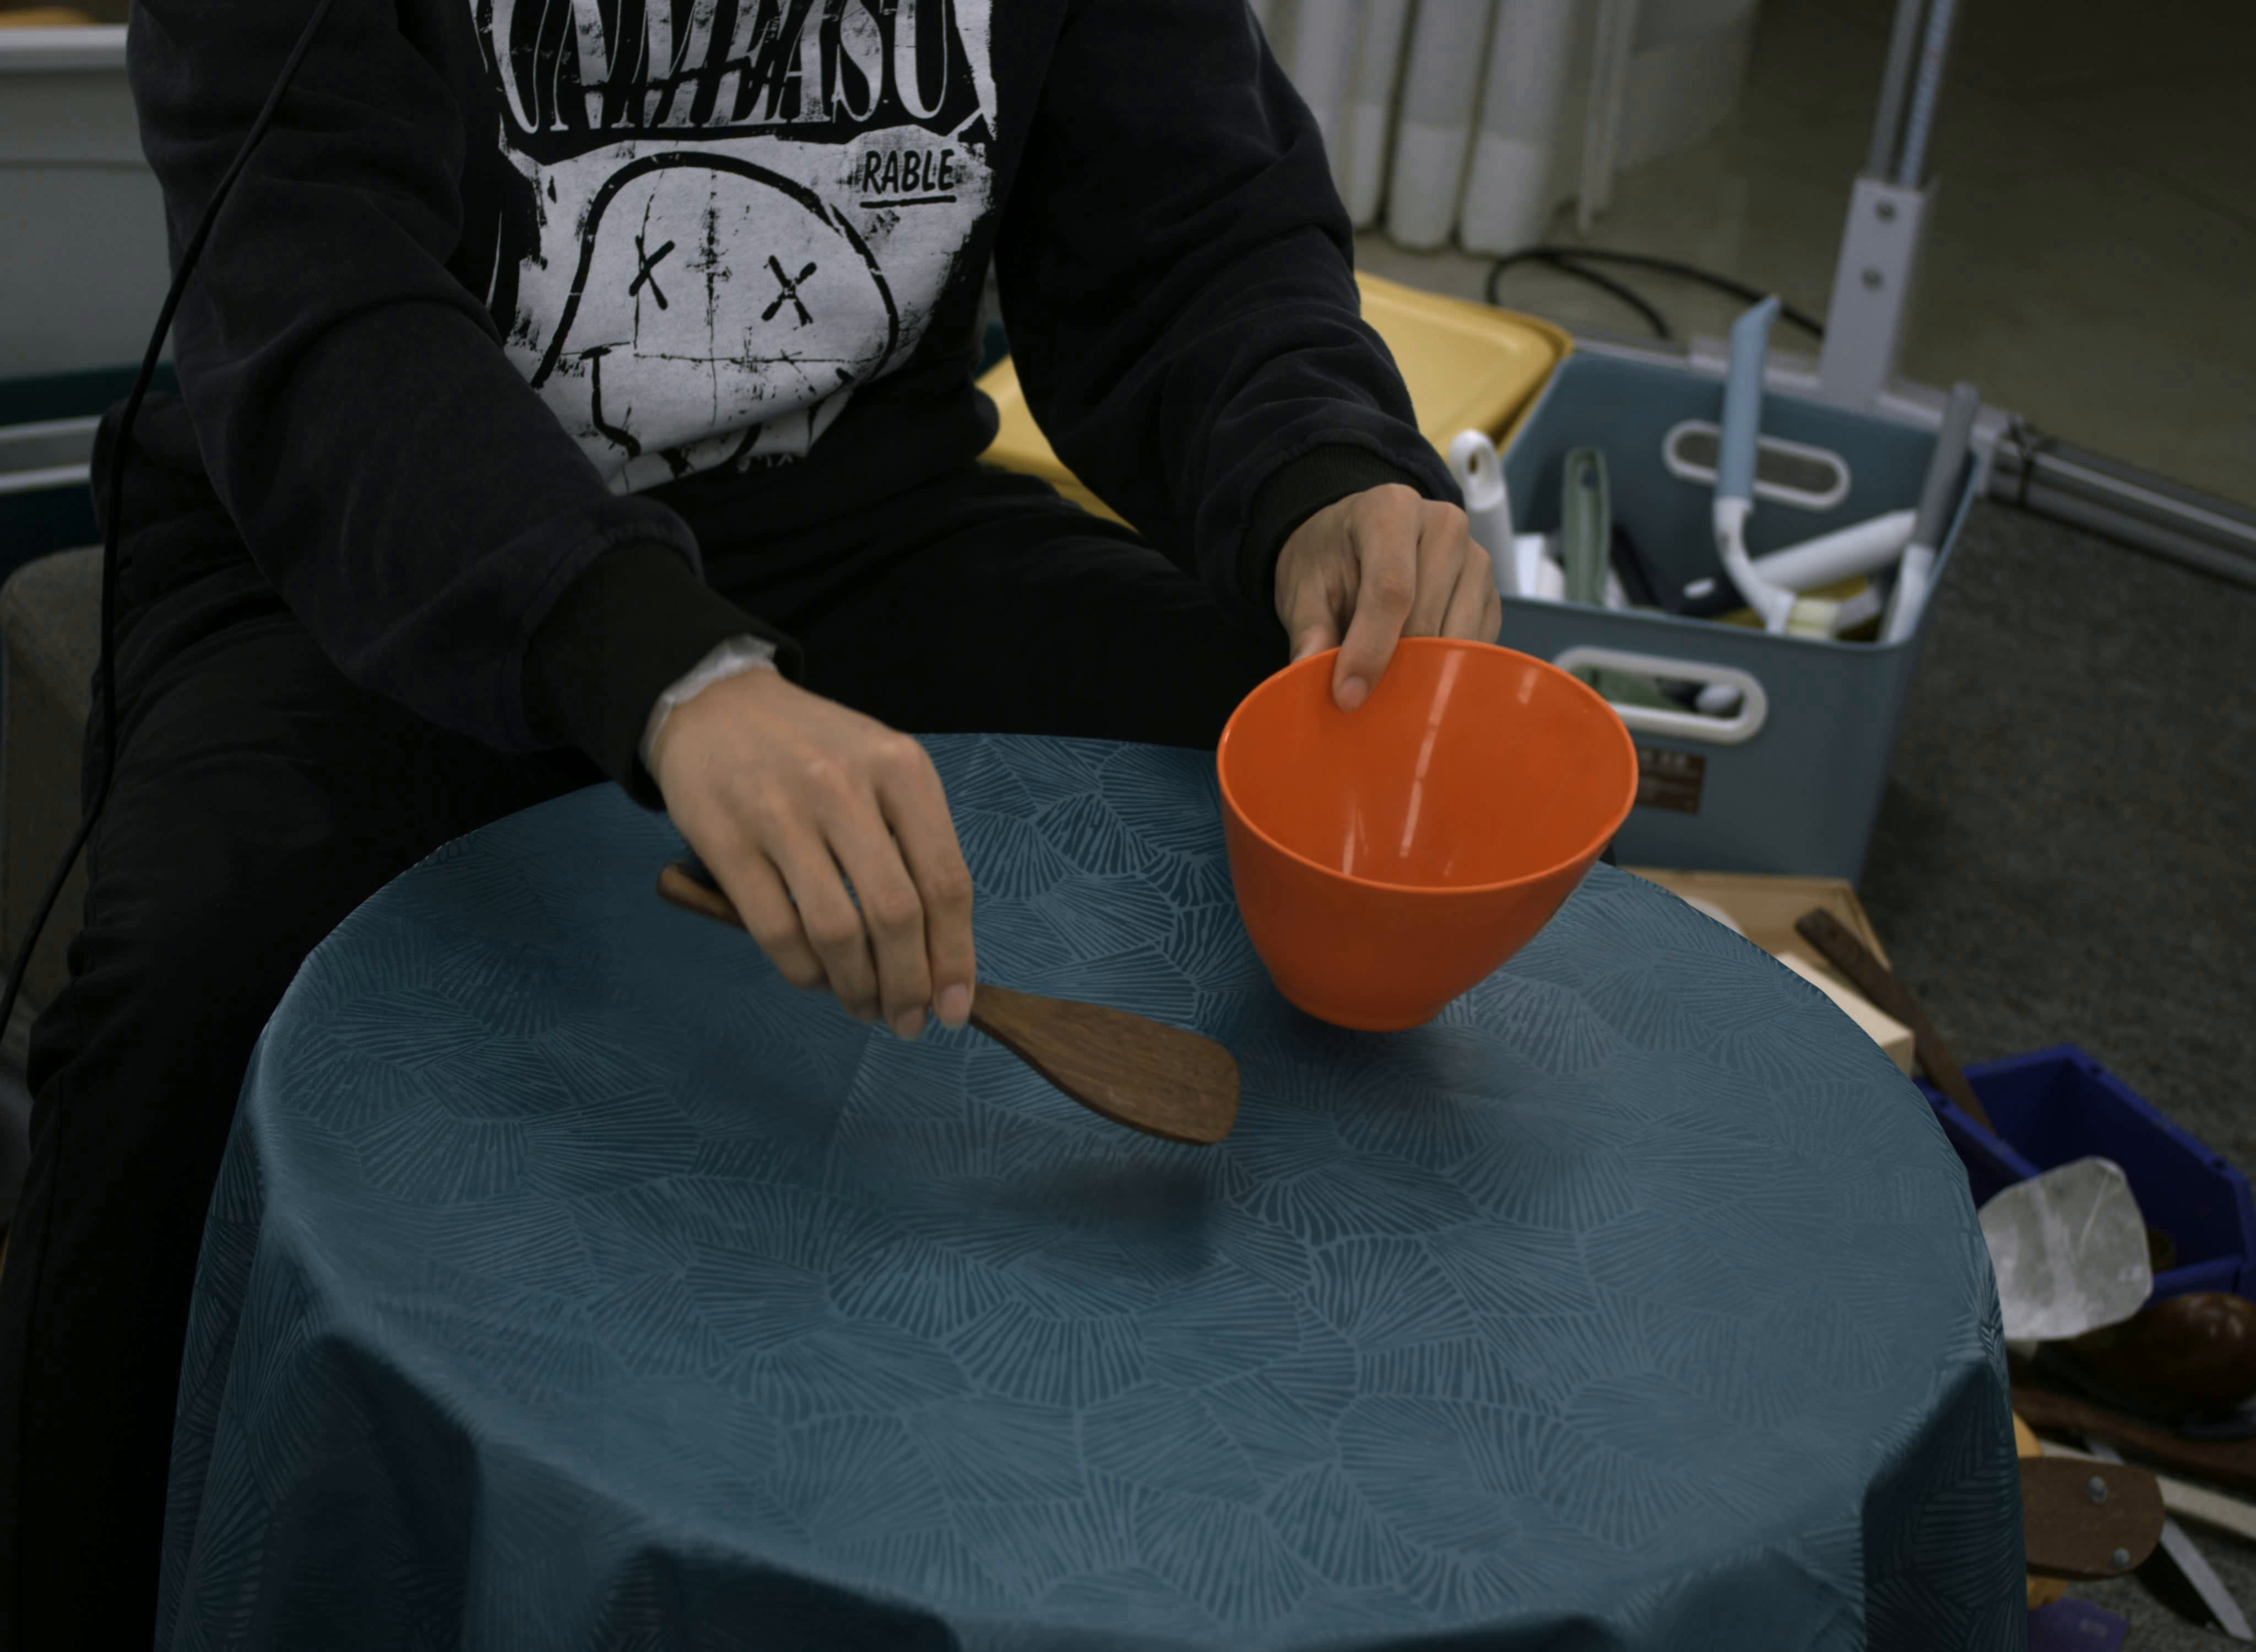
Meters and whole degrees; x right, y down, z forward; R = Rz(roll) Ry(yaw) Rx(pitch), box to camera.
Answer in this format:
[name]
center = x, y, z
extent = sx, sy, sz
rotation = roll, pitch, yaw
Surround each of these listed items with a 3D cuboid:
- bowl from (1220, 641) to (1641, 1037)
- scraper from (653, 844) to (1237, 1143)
[bowl]
center = 0.100, 0.012, 1.892
extent = 0.147, 0.104, 0.149
rotation = 7, 32, -5
[scraper]
center = -0.061, 0.053, 1.779
extent = 0.210, 0.011, 0.076
rotation = 24, 24, -5
